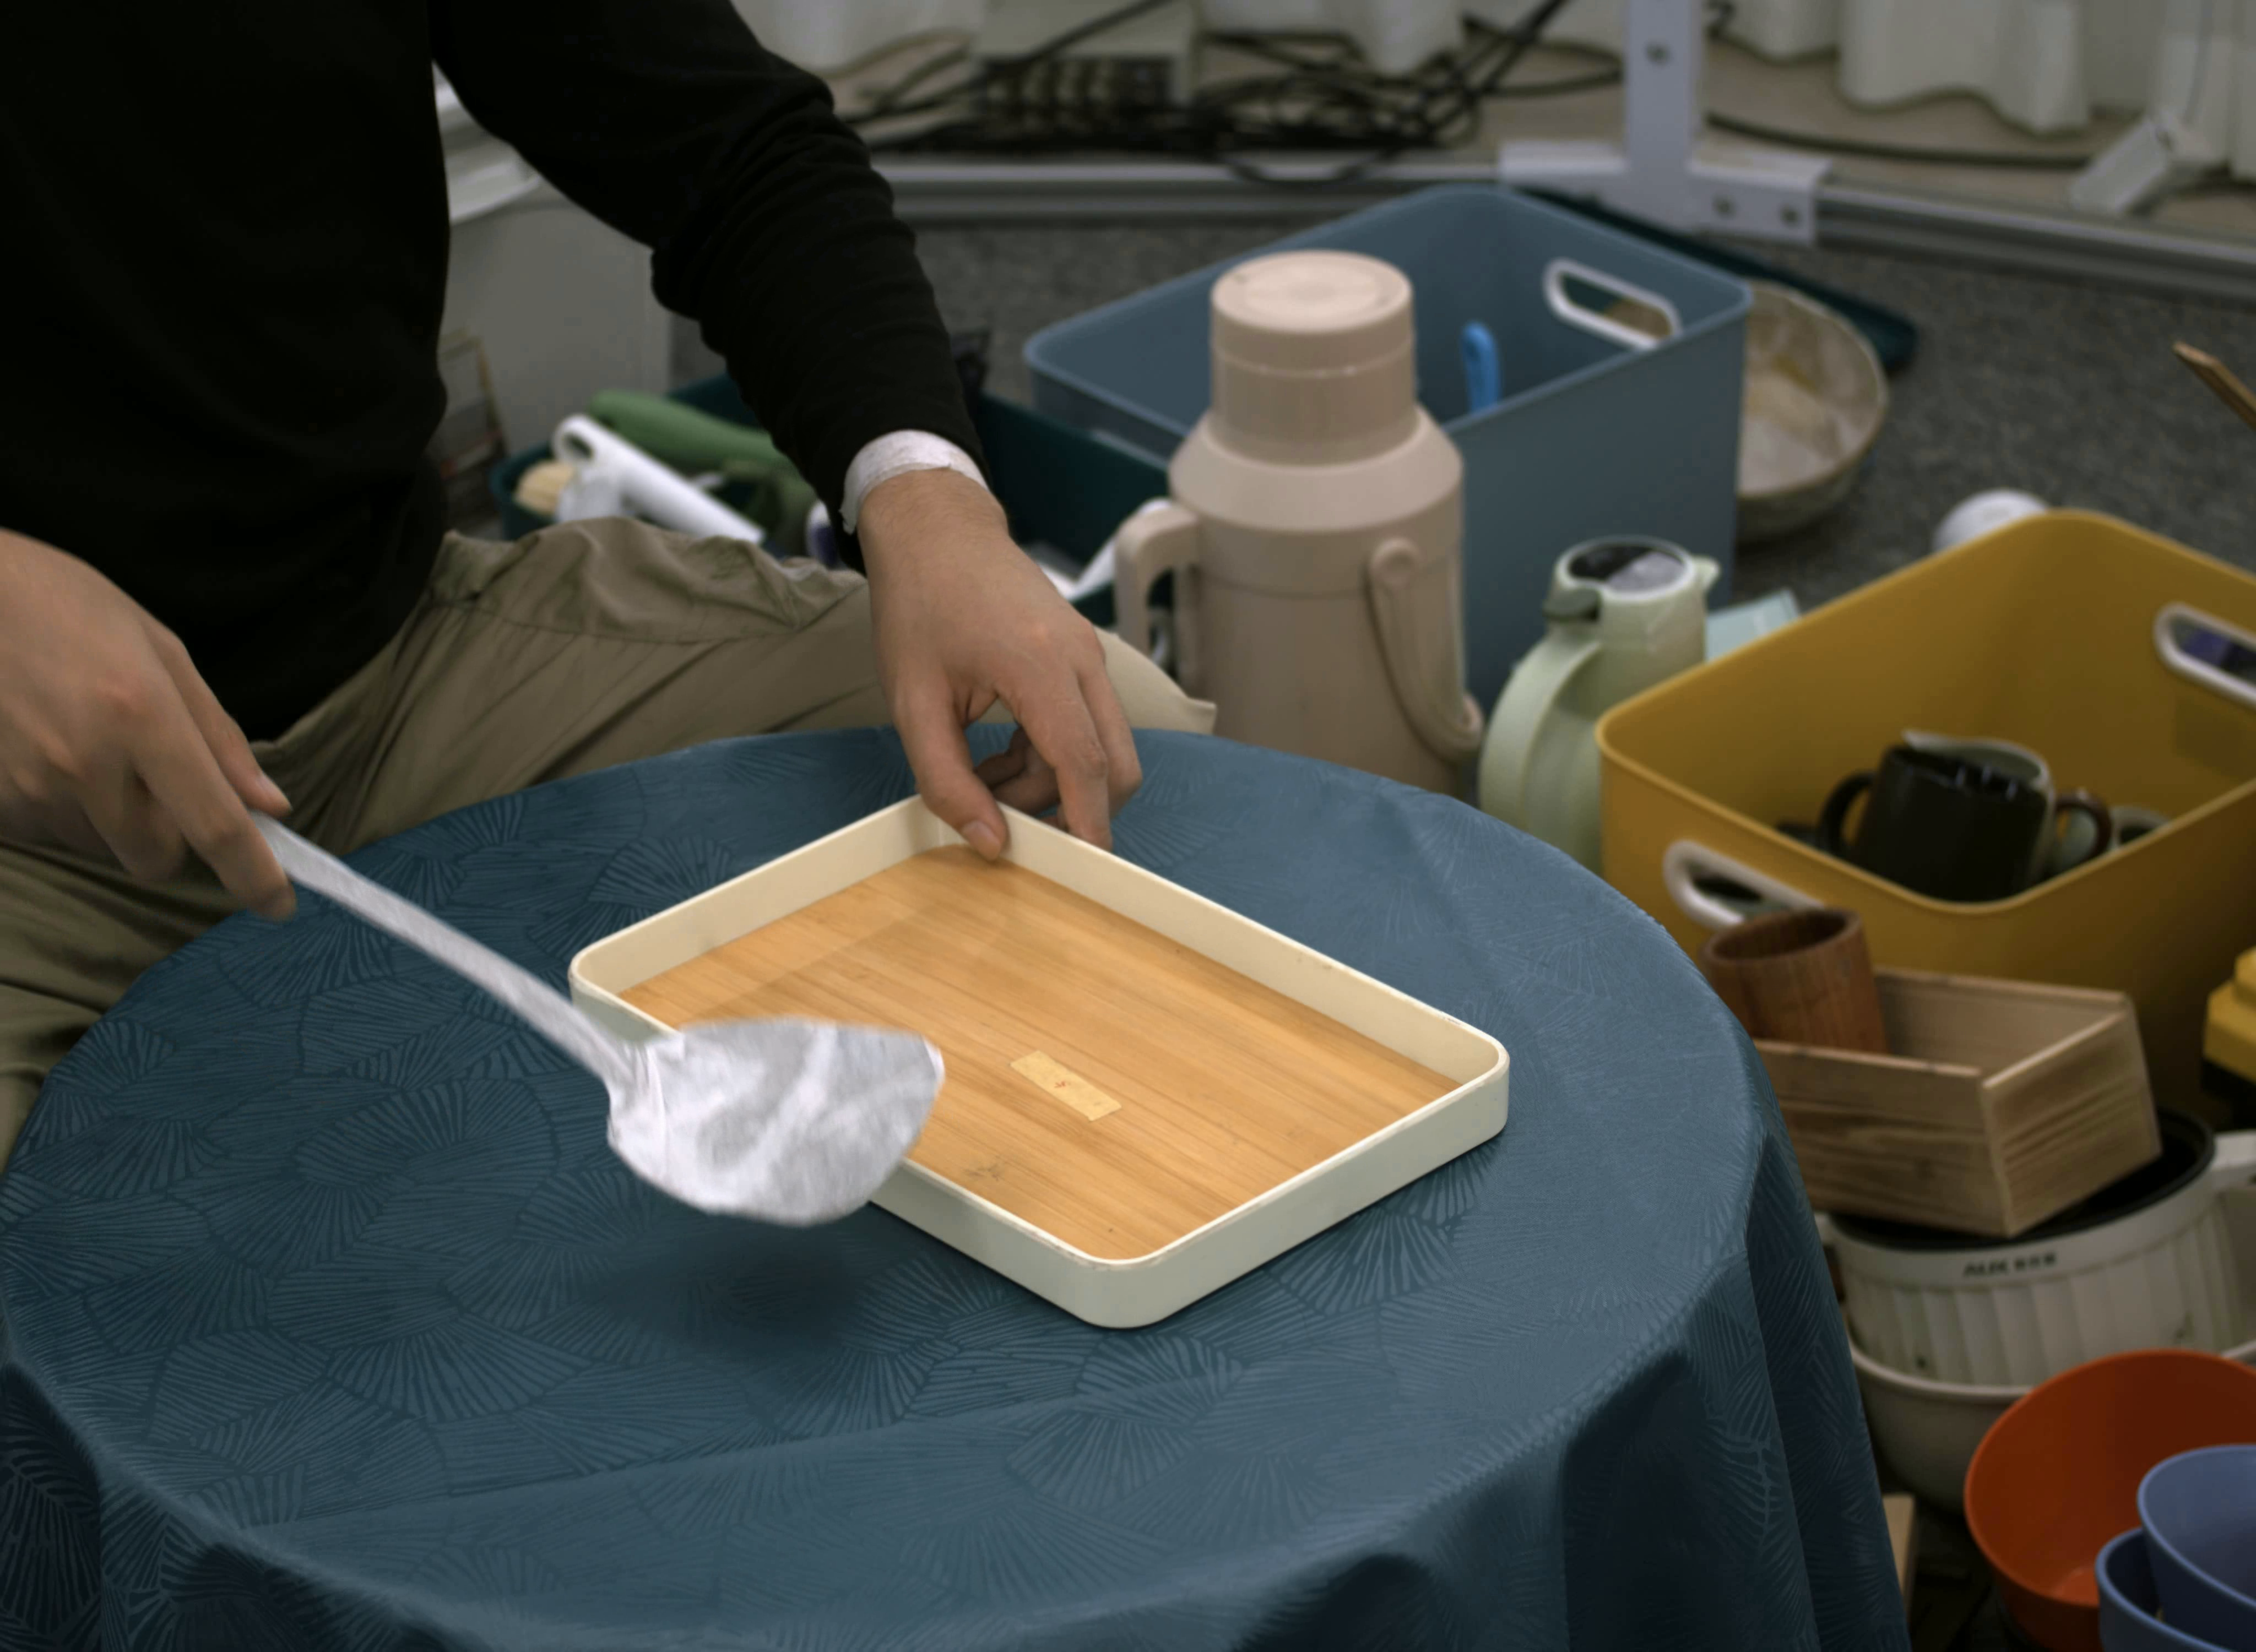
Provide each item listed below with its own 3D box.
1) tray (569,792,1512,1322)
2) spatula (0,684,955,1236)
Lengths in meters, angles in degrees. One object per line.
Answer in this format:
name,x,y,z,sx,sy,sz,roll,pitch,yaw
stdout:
tray,-0.033,0.074,1.927,0.194,0.027,0.300,-24,34,-36
spatula,-0.228,0.033,1.818,0.364,0.044,0.100,29,44,7
